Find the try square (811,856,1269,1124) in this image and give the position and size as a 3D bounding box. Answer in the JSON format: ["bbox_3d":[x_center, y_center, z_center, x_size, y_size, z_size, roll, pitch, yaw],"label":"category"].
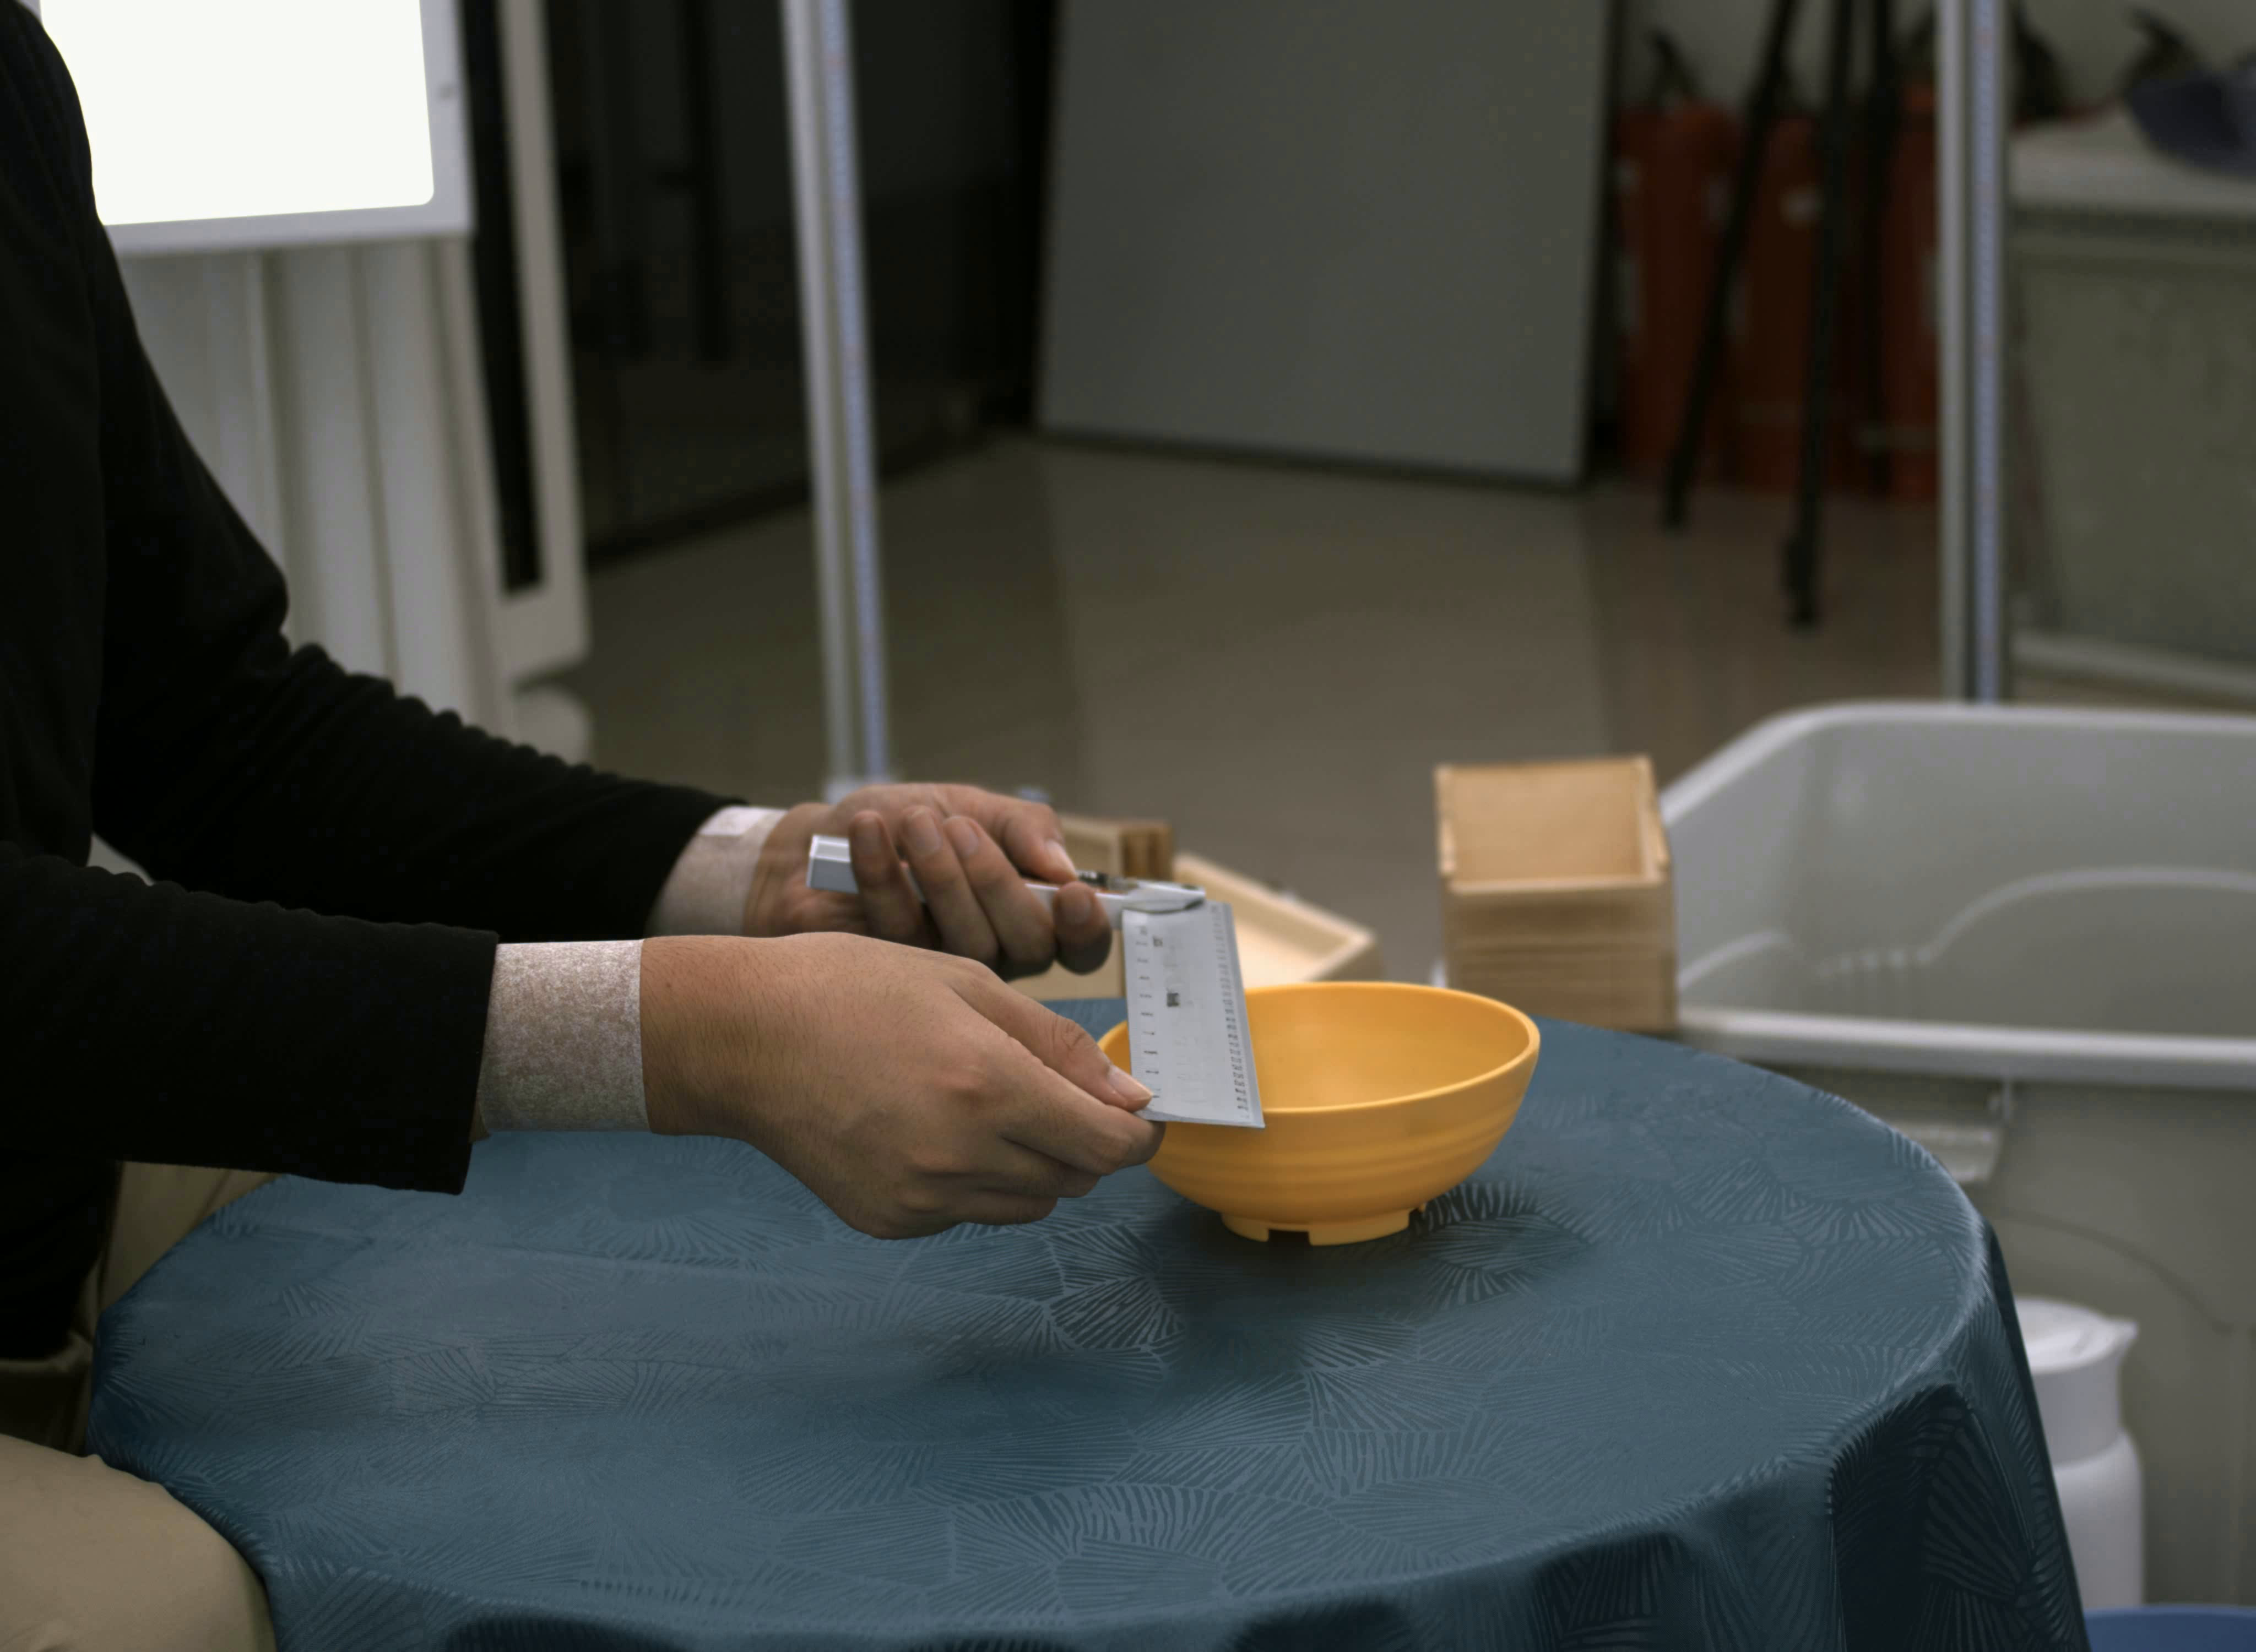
[{"bbox_3d":[-0.034,0.052,1.760,0.150,0.016,0.313,5,11,-1],"label":"try square"}]

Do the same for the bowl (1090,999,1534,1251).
[{"bbox_3d":[0.060,0.099,1.724,0.143,0.061,0.145,-4,11,0],"label":"bowl"}]
